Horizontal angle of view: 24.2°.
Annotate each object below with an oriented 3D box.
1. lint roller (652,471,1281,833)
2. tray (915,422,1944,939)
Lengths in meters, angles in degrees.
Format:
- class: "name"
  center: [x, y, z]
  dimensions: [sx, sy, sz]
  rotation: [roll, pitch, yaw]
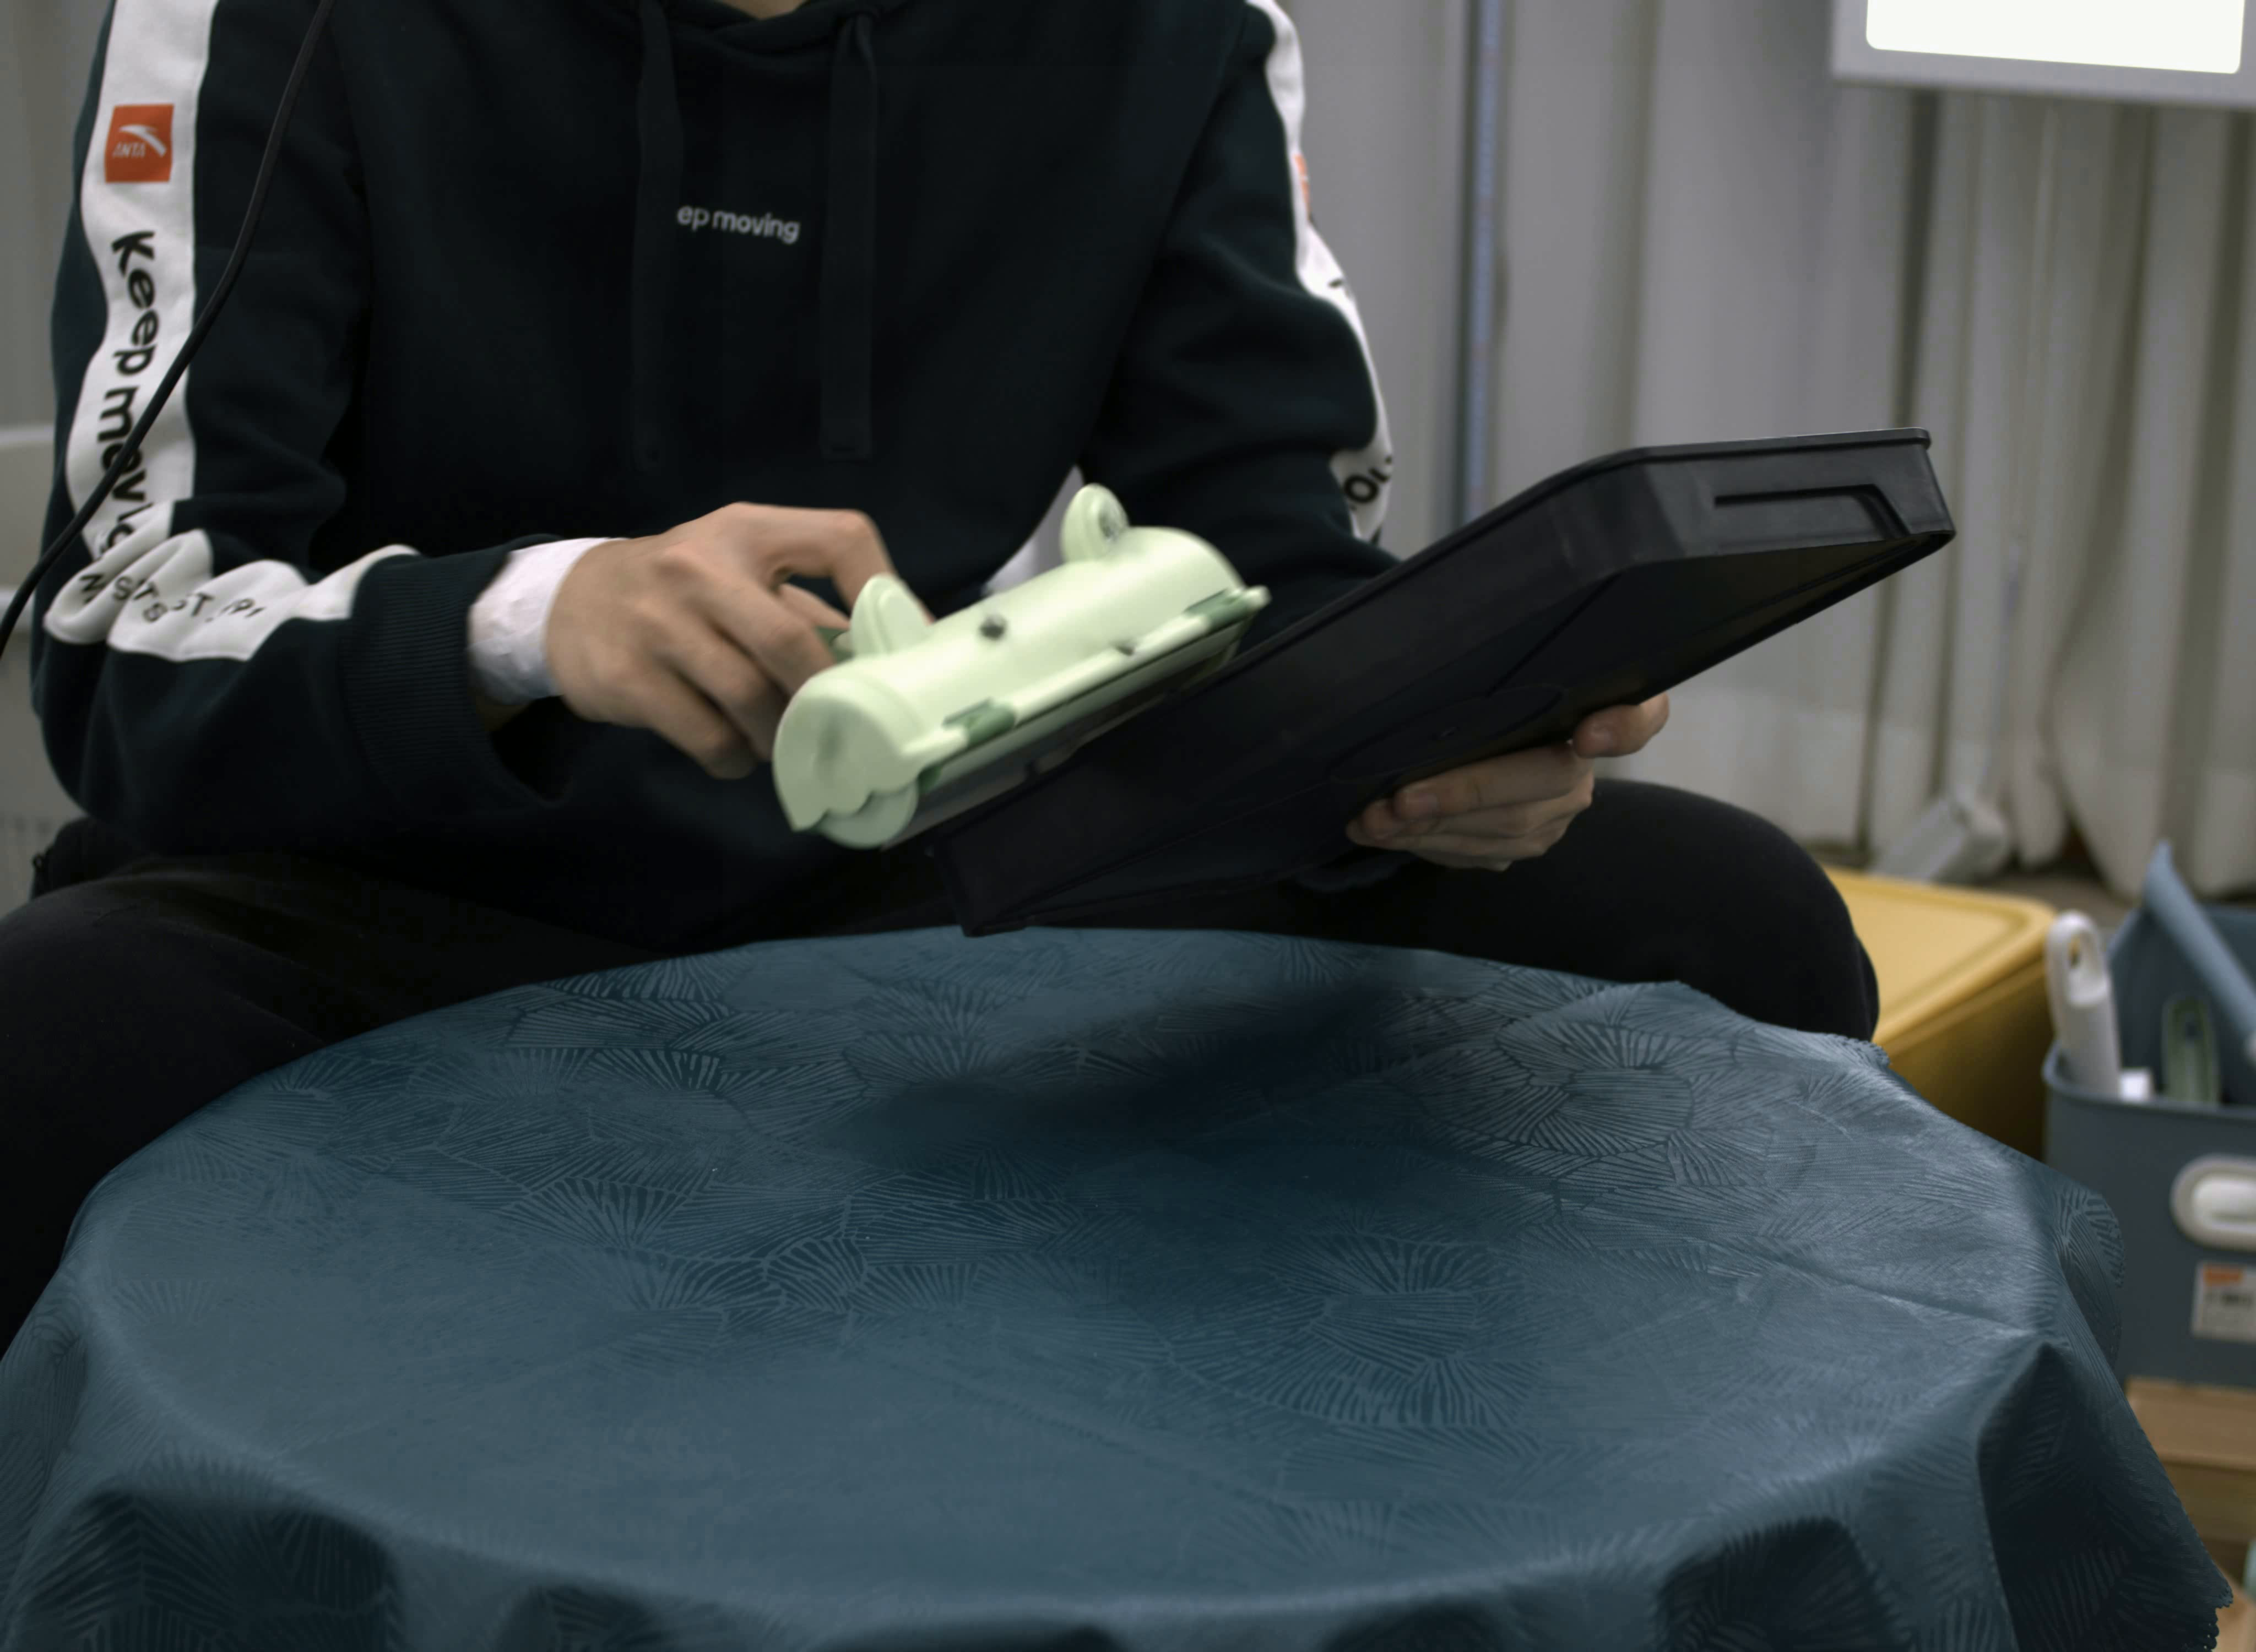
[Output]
- class: "lint roller"
  center: [-0.077, -0.063, 1.641]
  dimensions: [0.181, 0.083, 0.199]
  rotation: [11, 22, 31]
- class: "tray"
  center: [0.092, -0.044, 1.663]
  dimensions: [0.185, 0.037, 0.316]
  rotation: [-9, -16, -47]
